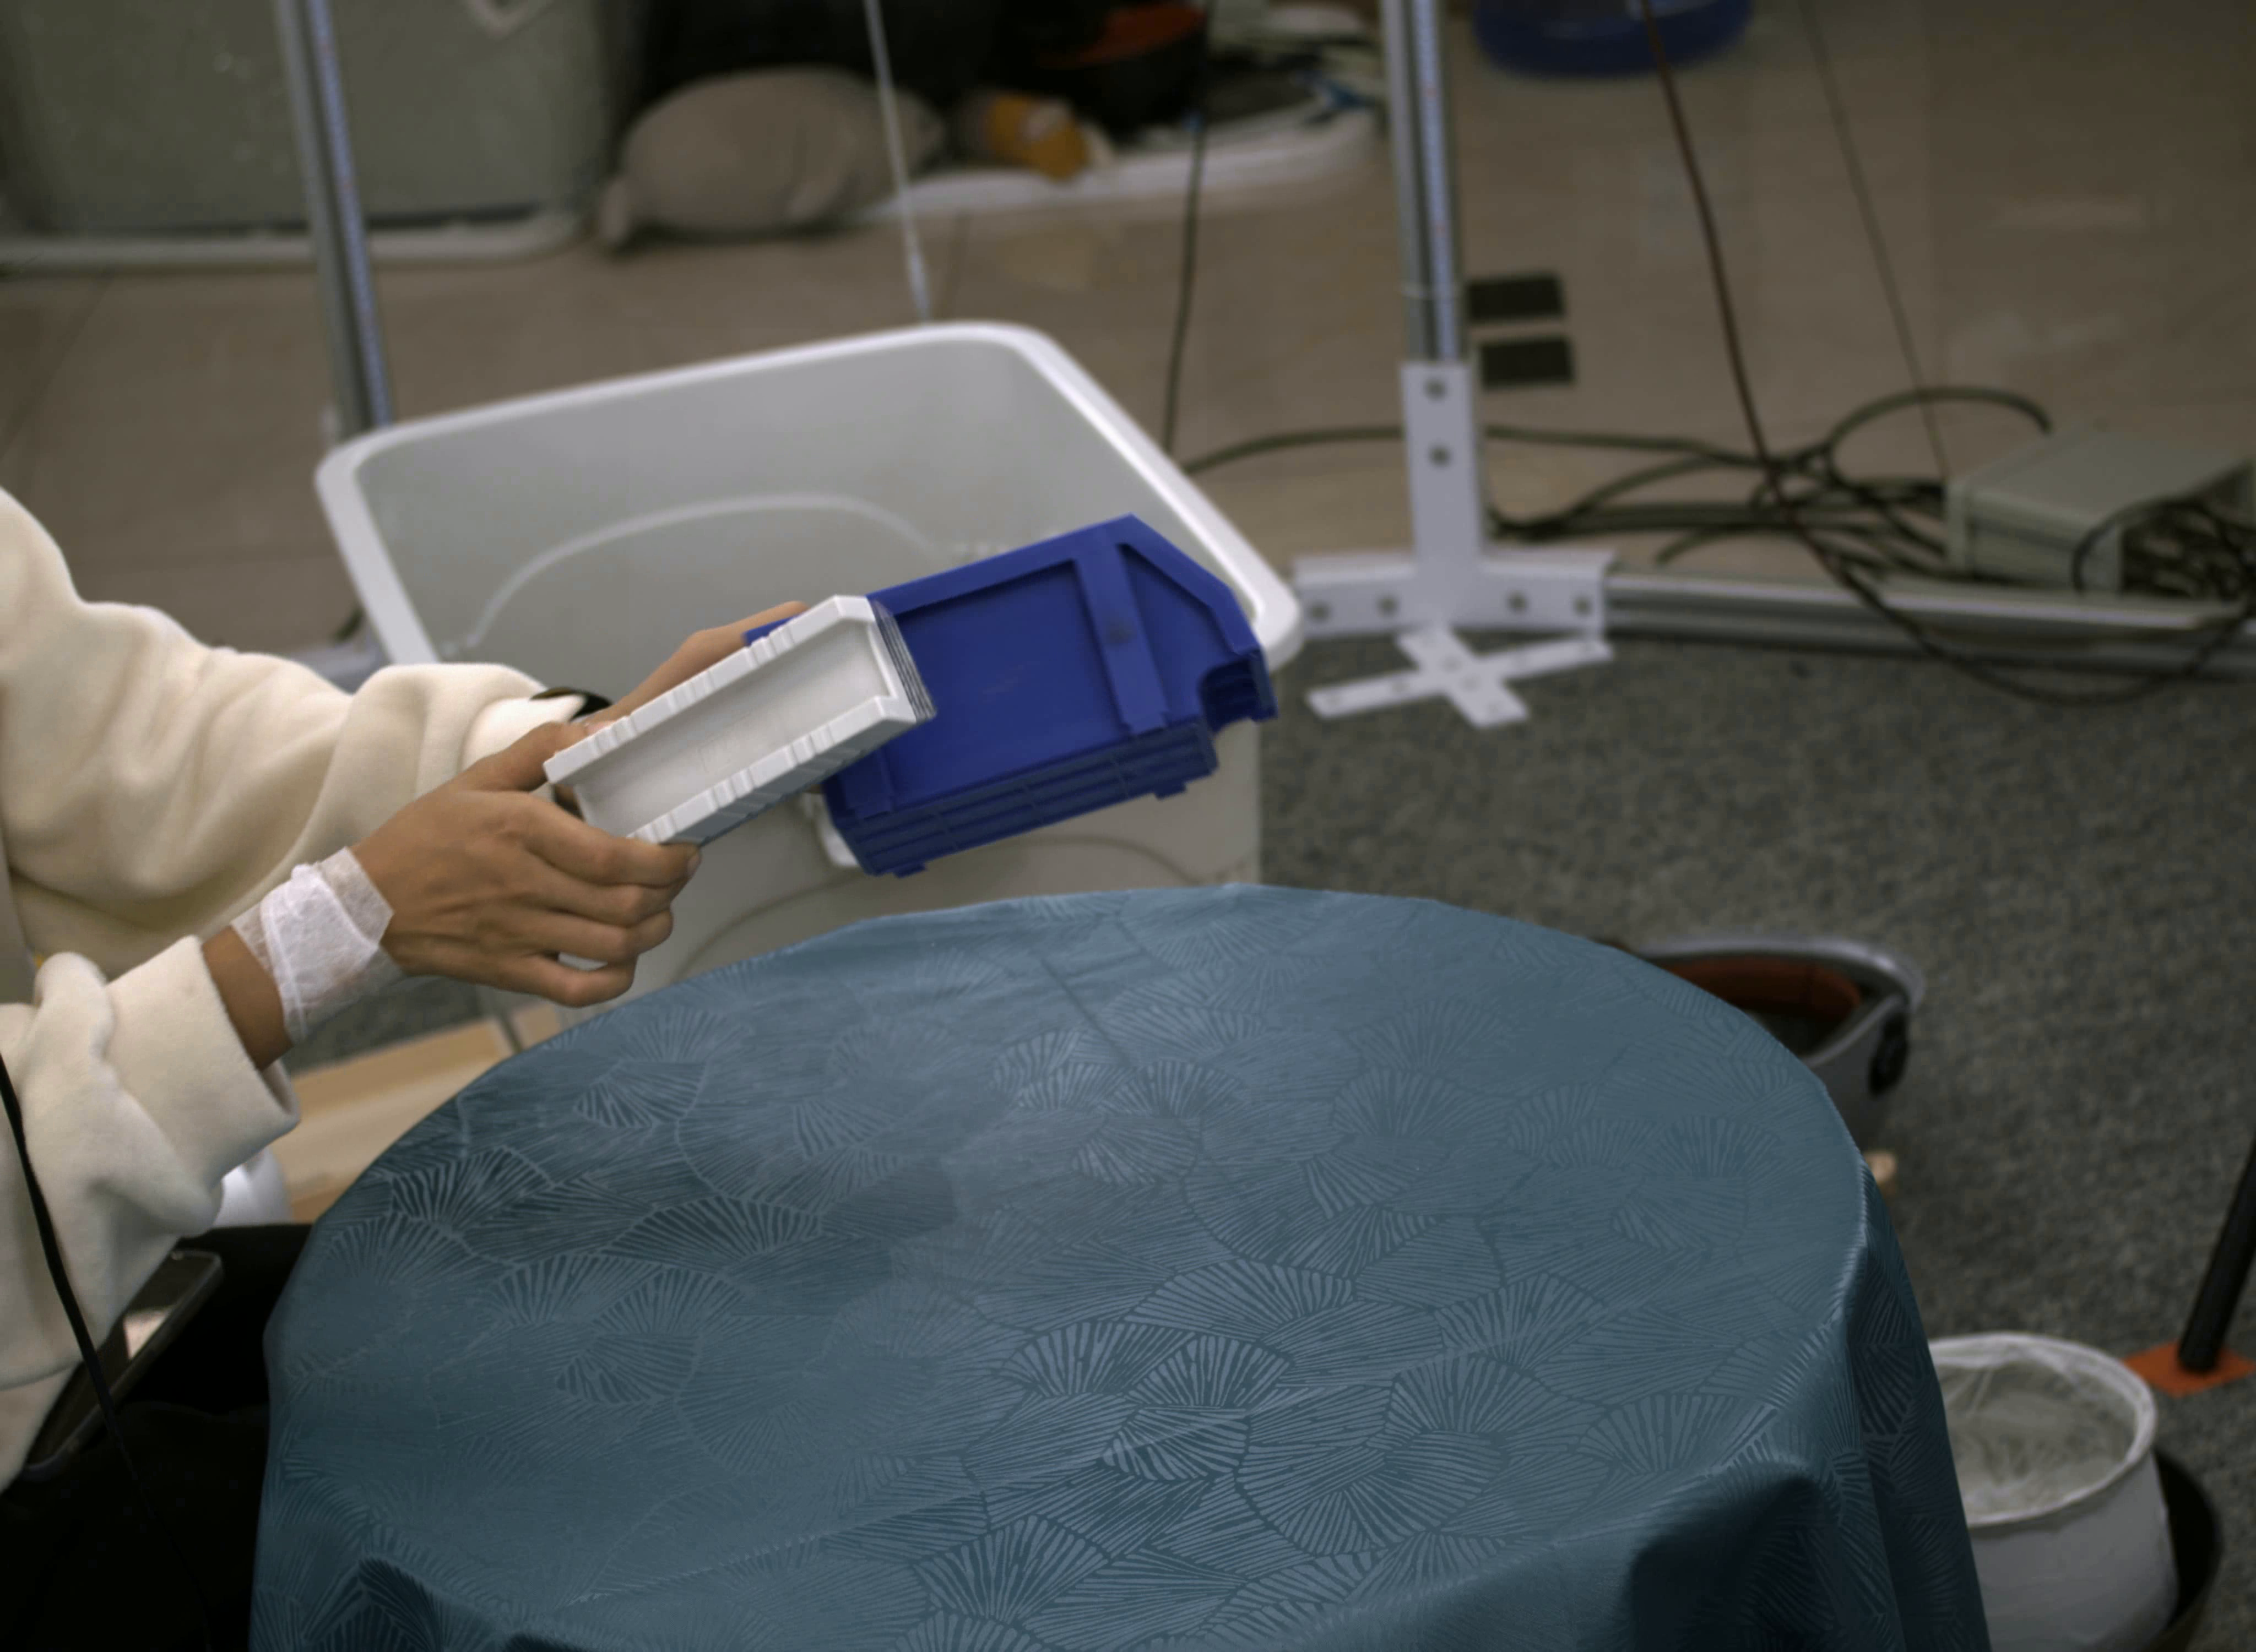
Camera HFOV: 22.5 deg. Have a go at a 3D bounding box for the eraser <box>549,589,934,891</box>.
[{"bbox_3d":[-0.137,-0.030,2.005,0.135,0.049,0.046,-31,-13,24],"label":"eraser"}]

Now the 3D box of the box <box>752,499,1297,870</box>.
[{"bbox_3d":[-0.033,-0.053,2.105,0.179,0.081,0.125,-20,-12,4],"label":"box"}]
